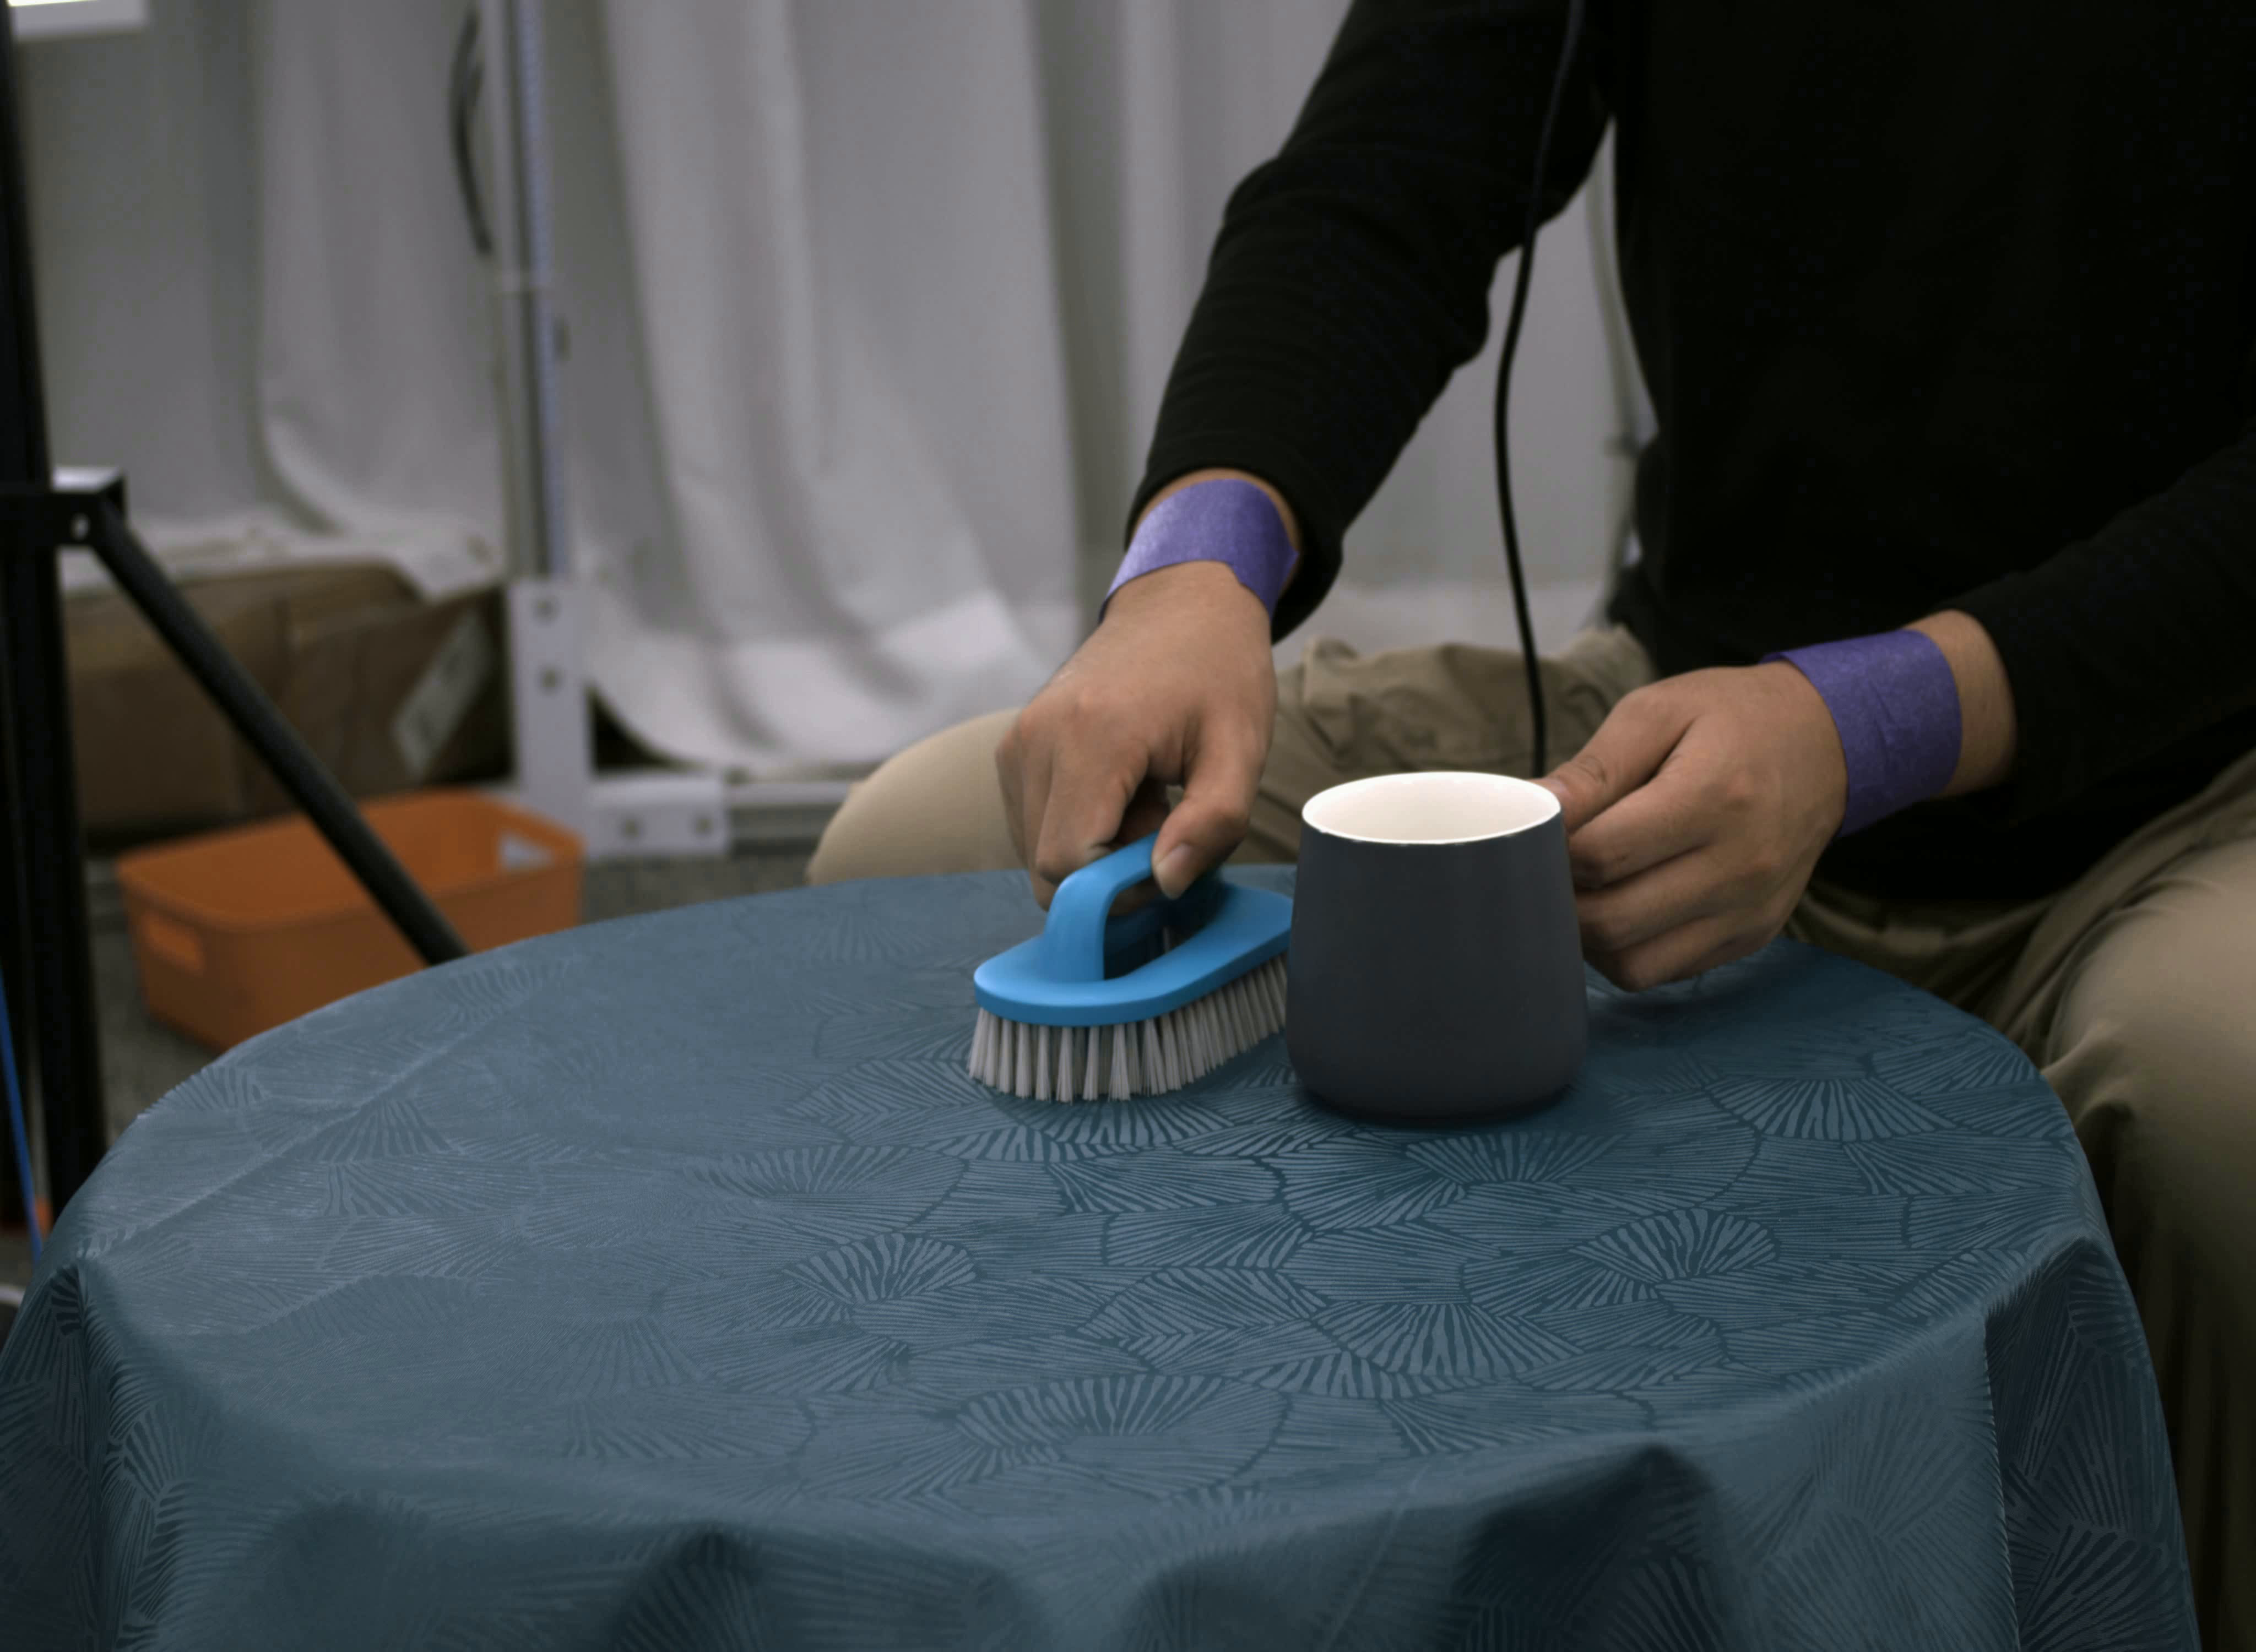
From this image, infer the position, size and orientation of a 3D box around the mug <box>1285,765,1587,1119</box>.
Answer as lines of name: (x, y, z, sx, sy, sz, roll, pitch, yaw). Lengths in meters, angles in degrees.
mug: (0.103, 0.032, 1.638, 0.095, 0.090, 0.121, 11, 22, 37)

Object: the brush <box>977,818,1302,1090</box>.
brush: (0.007, 0.035, 1.692, 0.086, 0.064, 0.139, 2, 16, 34)
